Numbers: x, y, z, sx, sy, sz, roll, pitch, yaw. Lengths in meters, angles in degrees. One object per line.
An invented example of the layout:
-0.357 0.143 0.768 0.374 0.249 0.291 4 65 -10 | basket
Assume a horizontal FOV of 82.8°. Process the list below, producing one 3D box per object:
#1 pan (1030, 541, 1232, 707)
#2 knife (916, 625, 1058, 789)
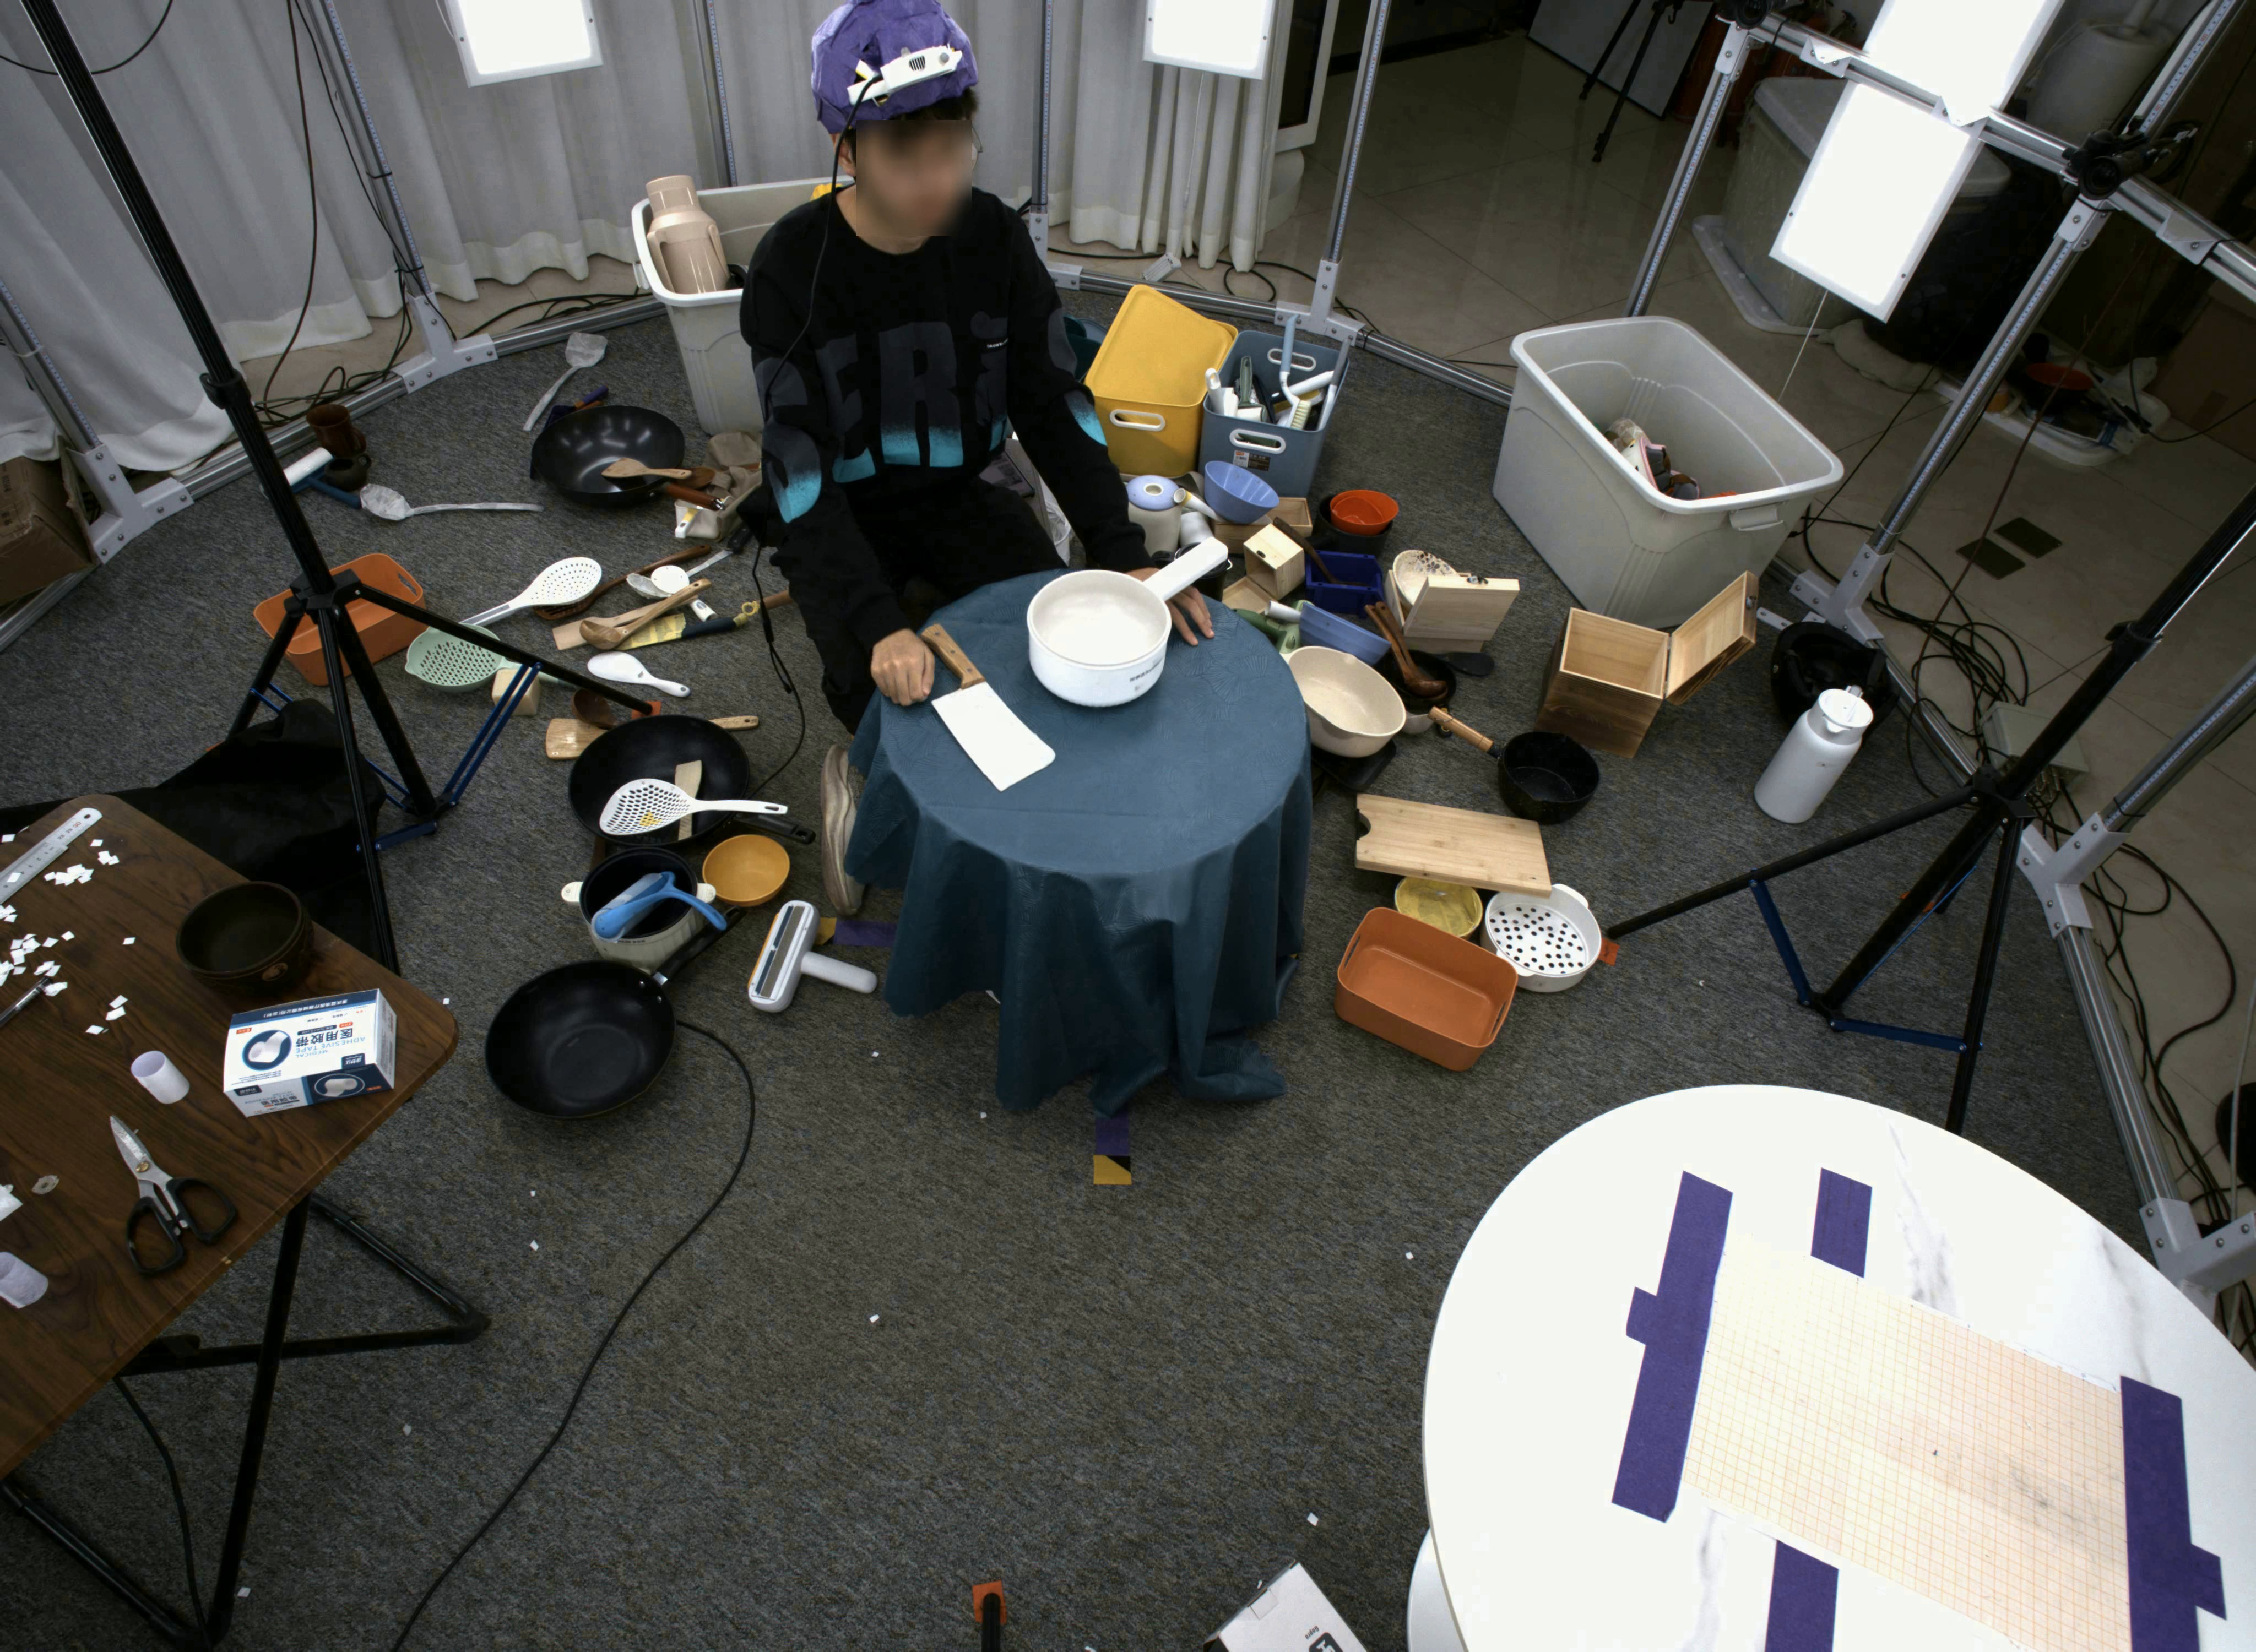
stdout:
0.016 -0.300 1.868 0.204 0.099 0.358 37 56 27 | pan
-0.210 -0.173 1.794 0.114 0.021 0.322 -23 57 -21 | knife
